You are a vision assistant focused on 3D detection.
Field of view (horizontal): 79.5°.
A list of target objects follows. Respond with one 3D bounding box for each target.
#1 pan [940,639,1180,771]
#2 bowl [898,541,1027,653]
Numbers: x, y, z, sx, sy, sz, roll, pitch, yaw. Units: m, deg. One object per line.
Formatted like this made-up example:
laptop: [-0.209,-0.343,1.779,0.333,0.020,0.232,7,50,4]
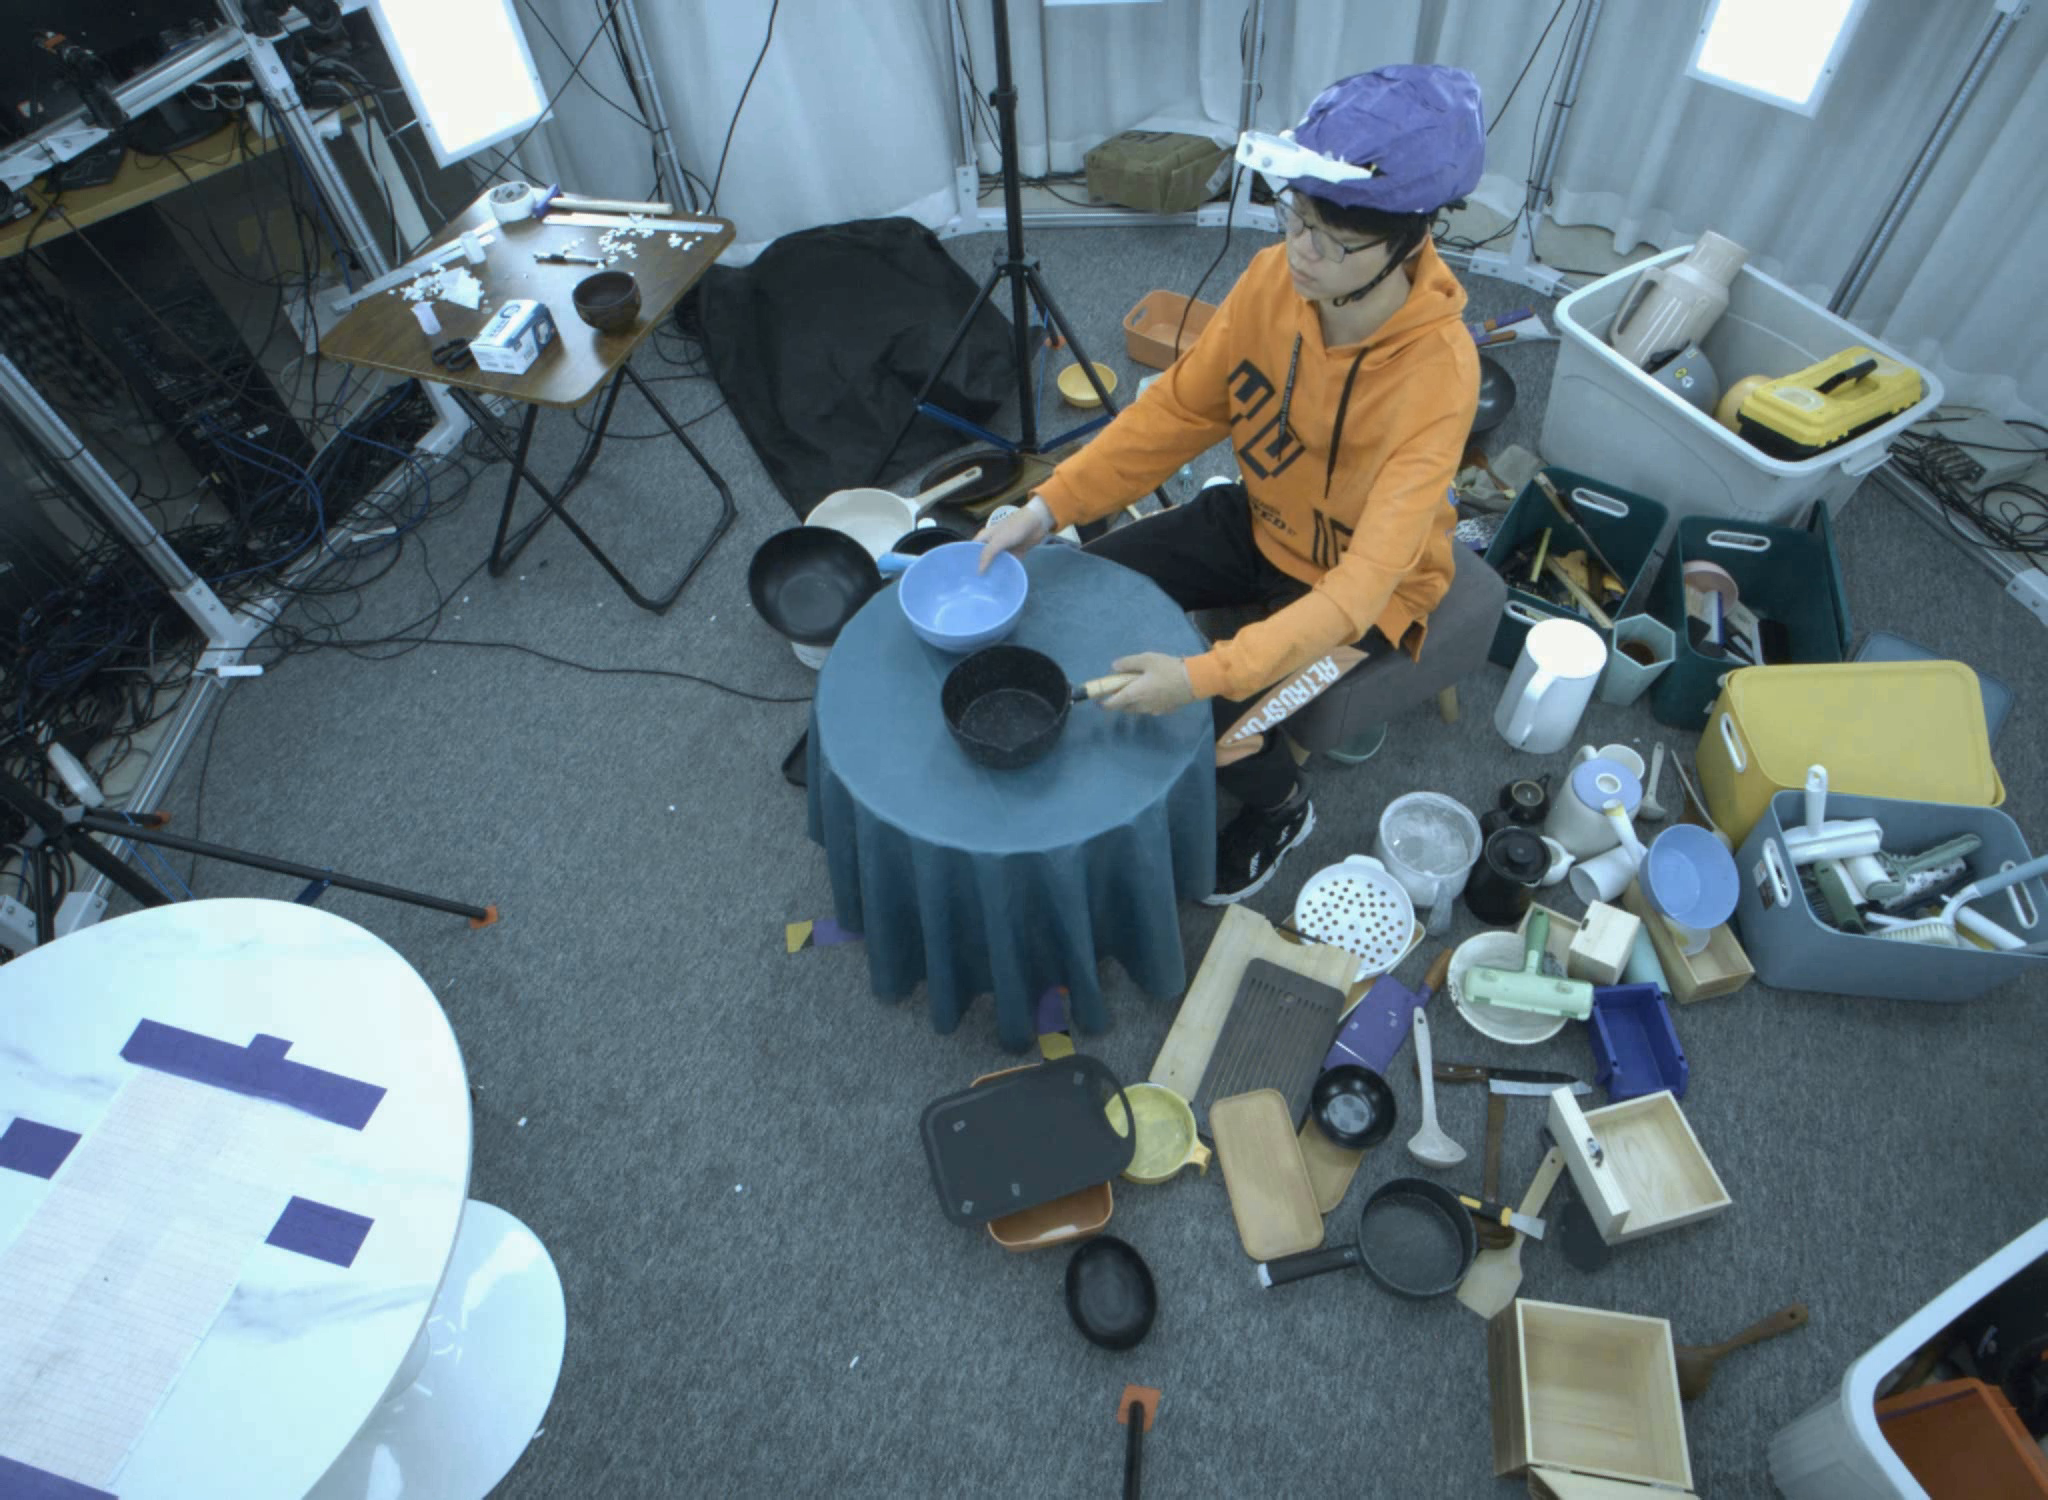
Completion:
pan: [0.053,-0.072,1.770,0.343,0.109,0.204,-8,53,-1]
bowl: [-0.090,-0.220,1.887,0.196,0.096,0.194,-1,54,3]
